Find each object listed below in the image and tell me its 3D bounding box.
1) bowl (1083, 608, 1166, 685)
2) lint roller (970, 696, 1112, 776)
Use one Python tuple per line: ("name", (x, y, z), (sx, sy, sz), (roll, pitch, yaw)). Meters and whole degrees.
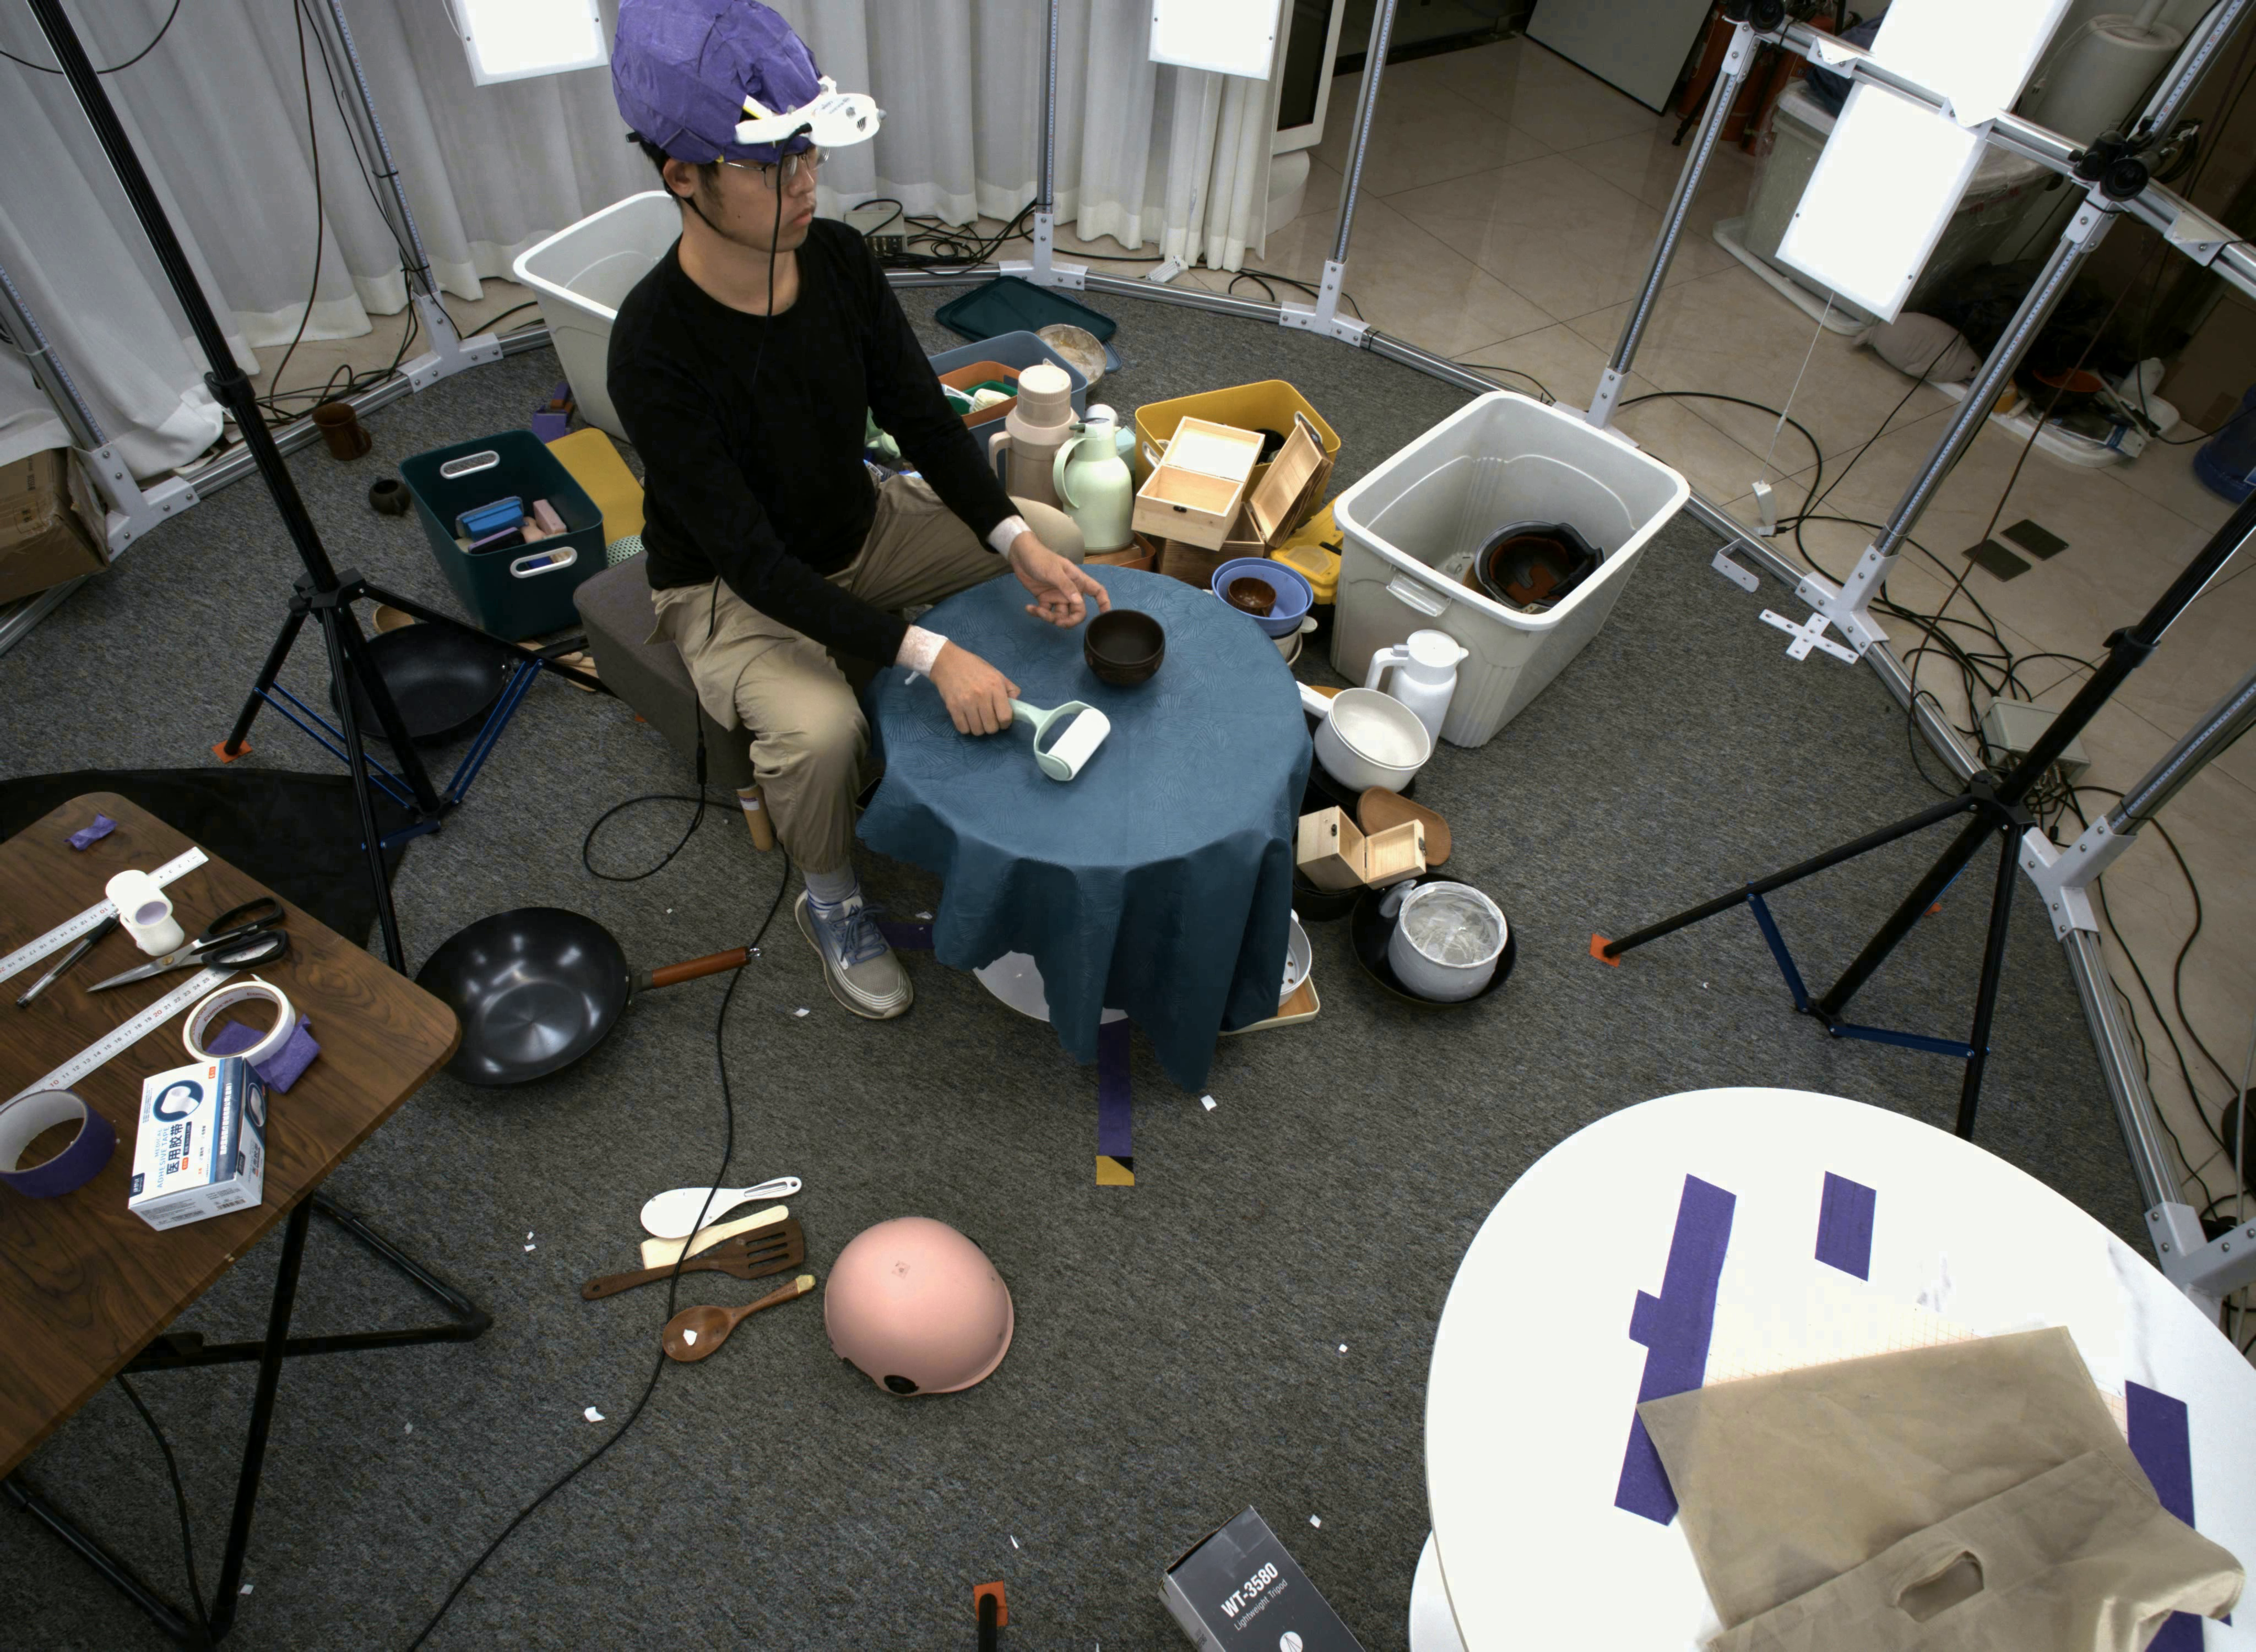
("bowl", (-0.006, -0.248, 1.839), (0.118, 0.068, 0.121), (1, 50, -1))
("lint roller", (-0.129, -0.146, 1.756), (0.199, 0.047, 0.118), (25, 53, 16))
